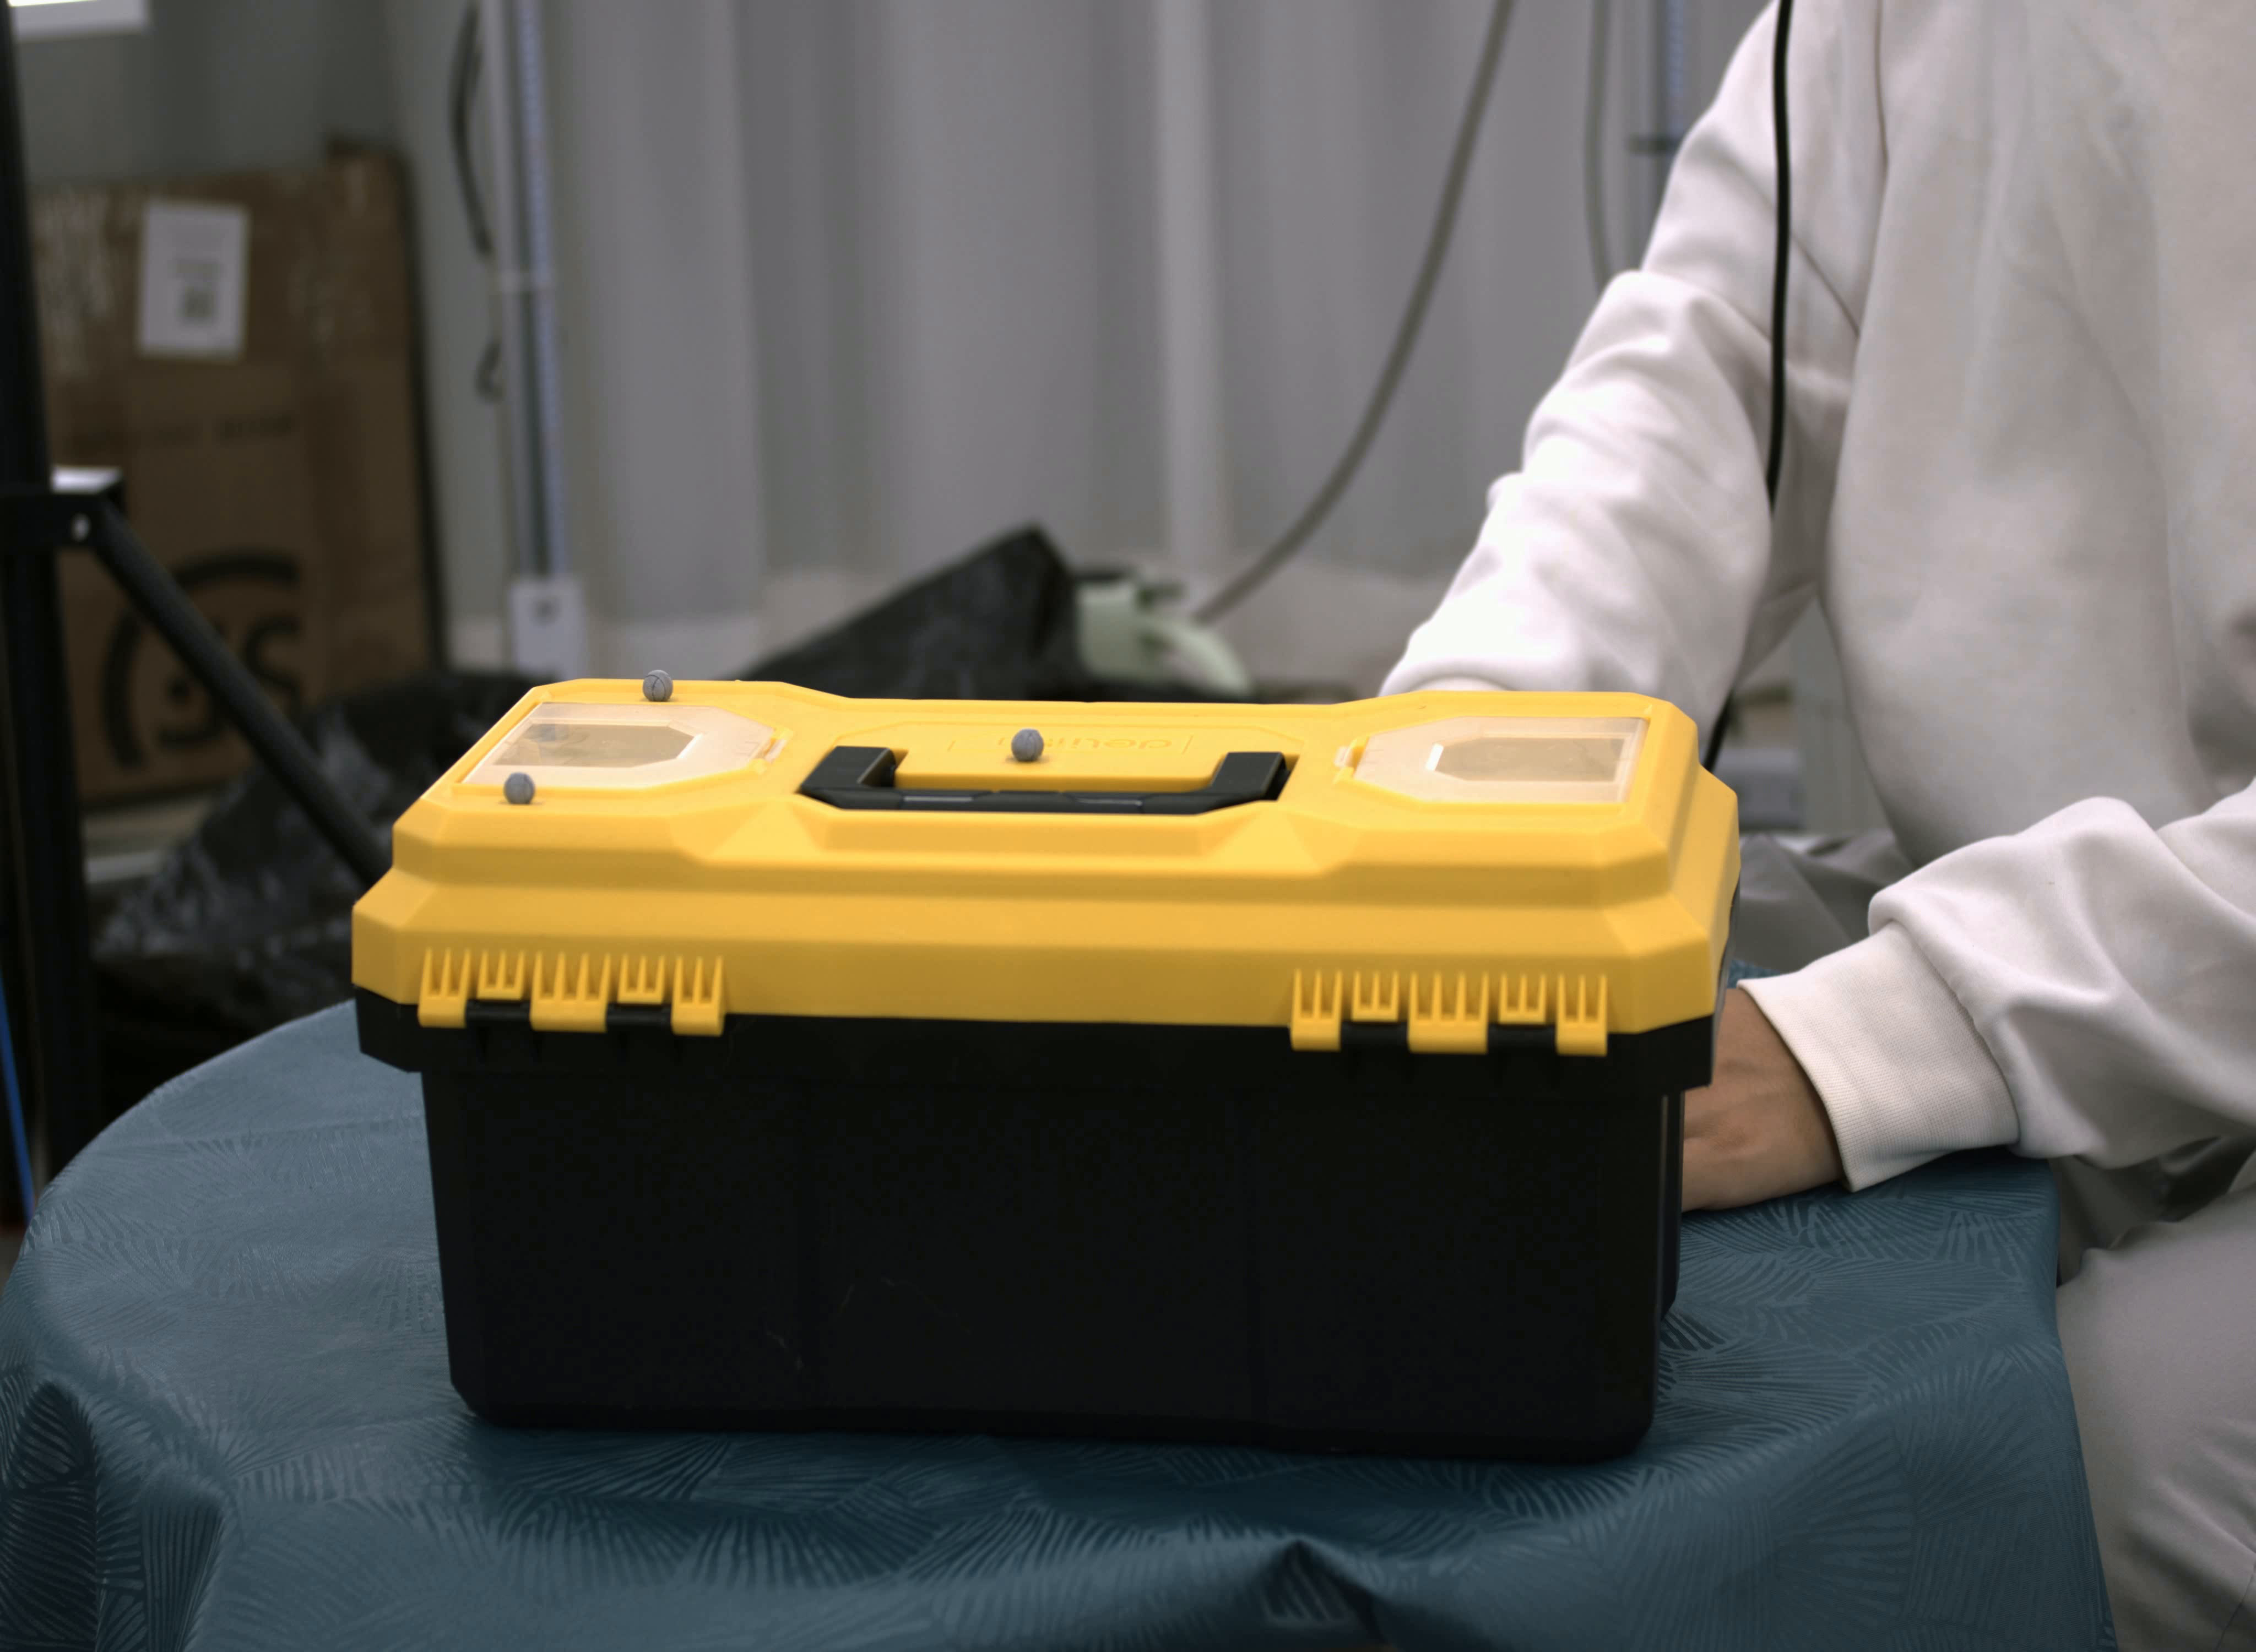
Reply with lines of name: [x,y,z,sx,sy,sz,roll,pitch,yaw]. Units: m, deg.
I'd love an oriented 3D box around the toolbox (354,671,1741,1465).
toolbox: [-0.016,0.061,1.411,0.353,0.173,0.180,1,17,11]

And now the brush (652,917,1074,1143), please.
brush: [-0.075,0.062,1.710,0.069,0.056,0.262,23,7,16]
